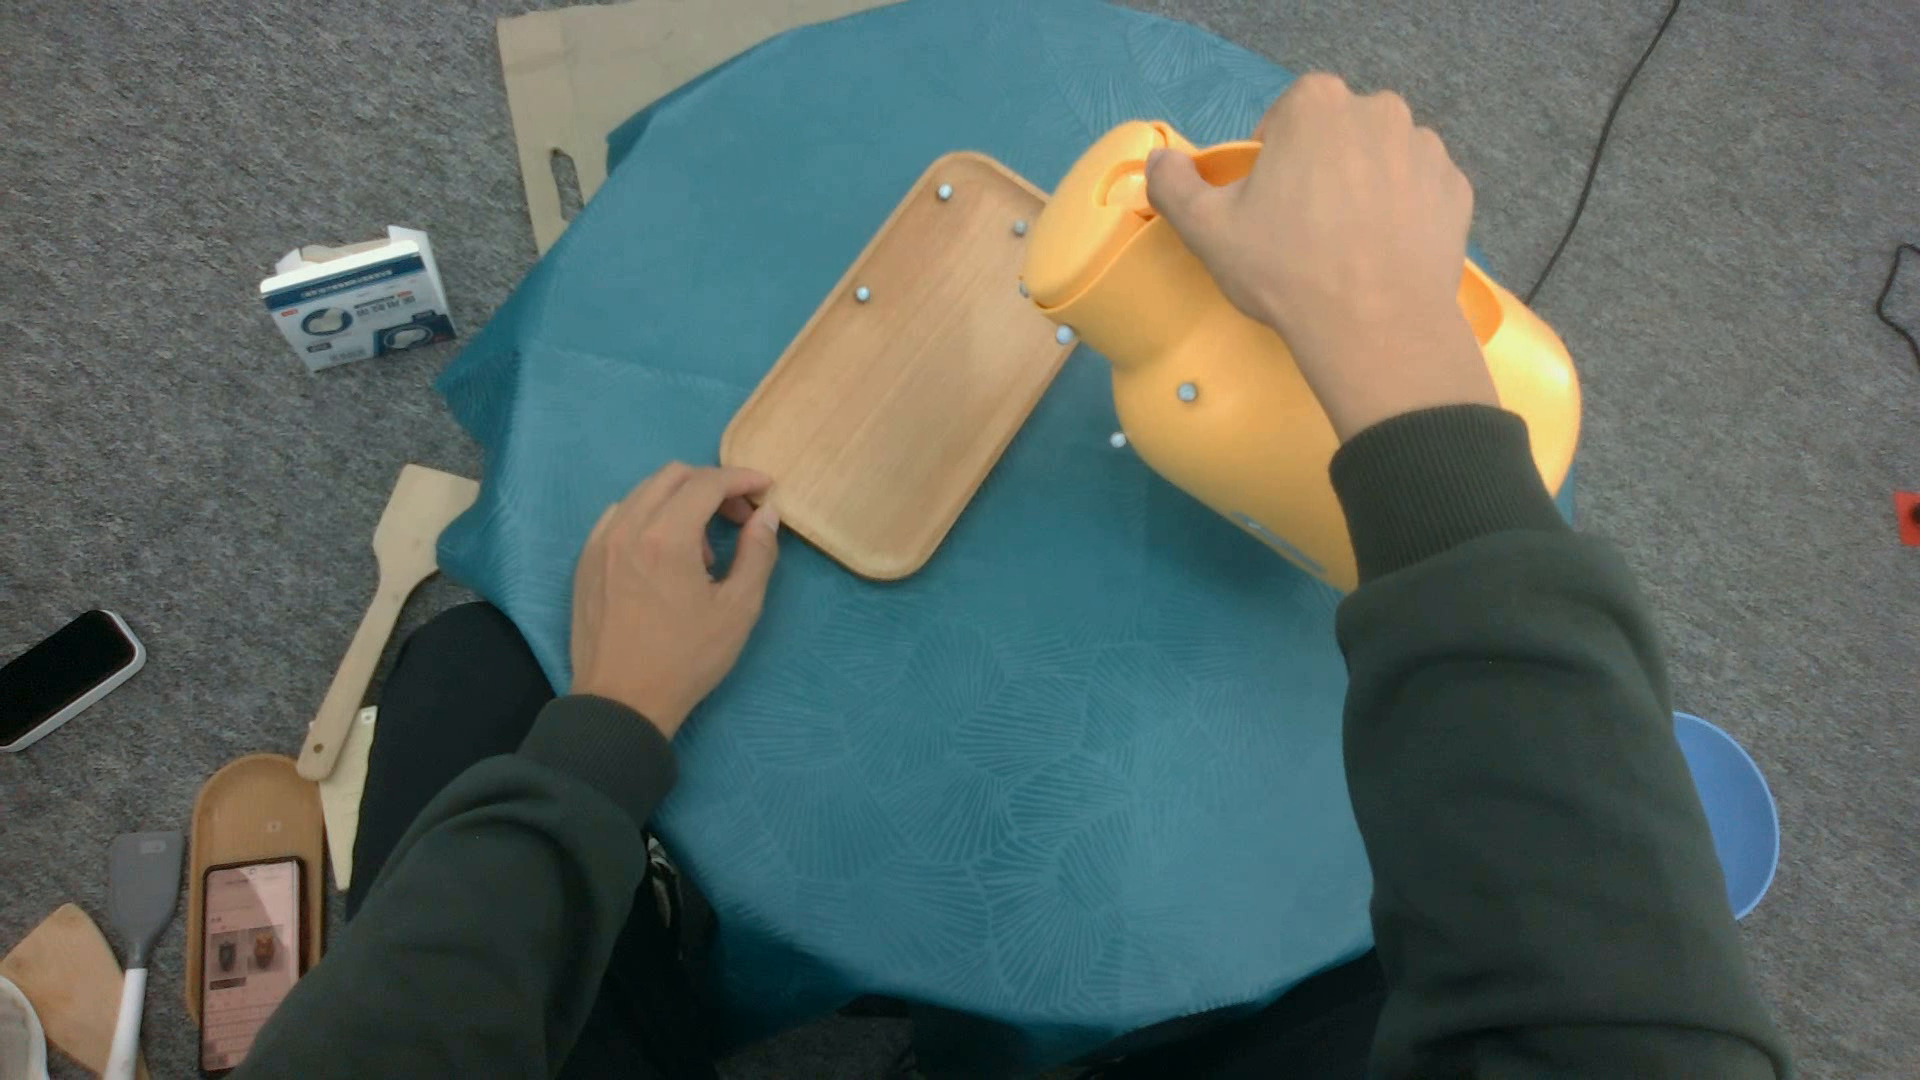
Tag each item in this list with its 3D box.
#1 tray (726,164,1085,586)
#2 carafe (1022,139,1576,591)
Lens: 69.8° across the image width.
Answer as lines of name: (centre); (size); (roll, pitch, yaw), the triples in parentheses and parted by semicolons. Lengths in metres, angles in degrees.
tray: (-0.015, -0.097, 0.770); (0.130, 0.023, 0.251); (34, 72, 5)
carafe: (0.163, -0.089, 0.646); (0.260, 0.202, 0.163); (26, 81, -21)
